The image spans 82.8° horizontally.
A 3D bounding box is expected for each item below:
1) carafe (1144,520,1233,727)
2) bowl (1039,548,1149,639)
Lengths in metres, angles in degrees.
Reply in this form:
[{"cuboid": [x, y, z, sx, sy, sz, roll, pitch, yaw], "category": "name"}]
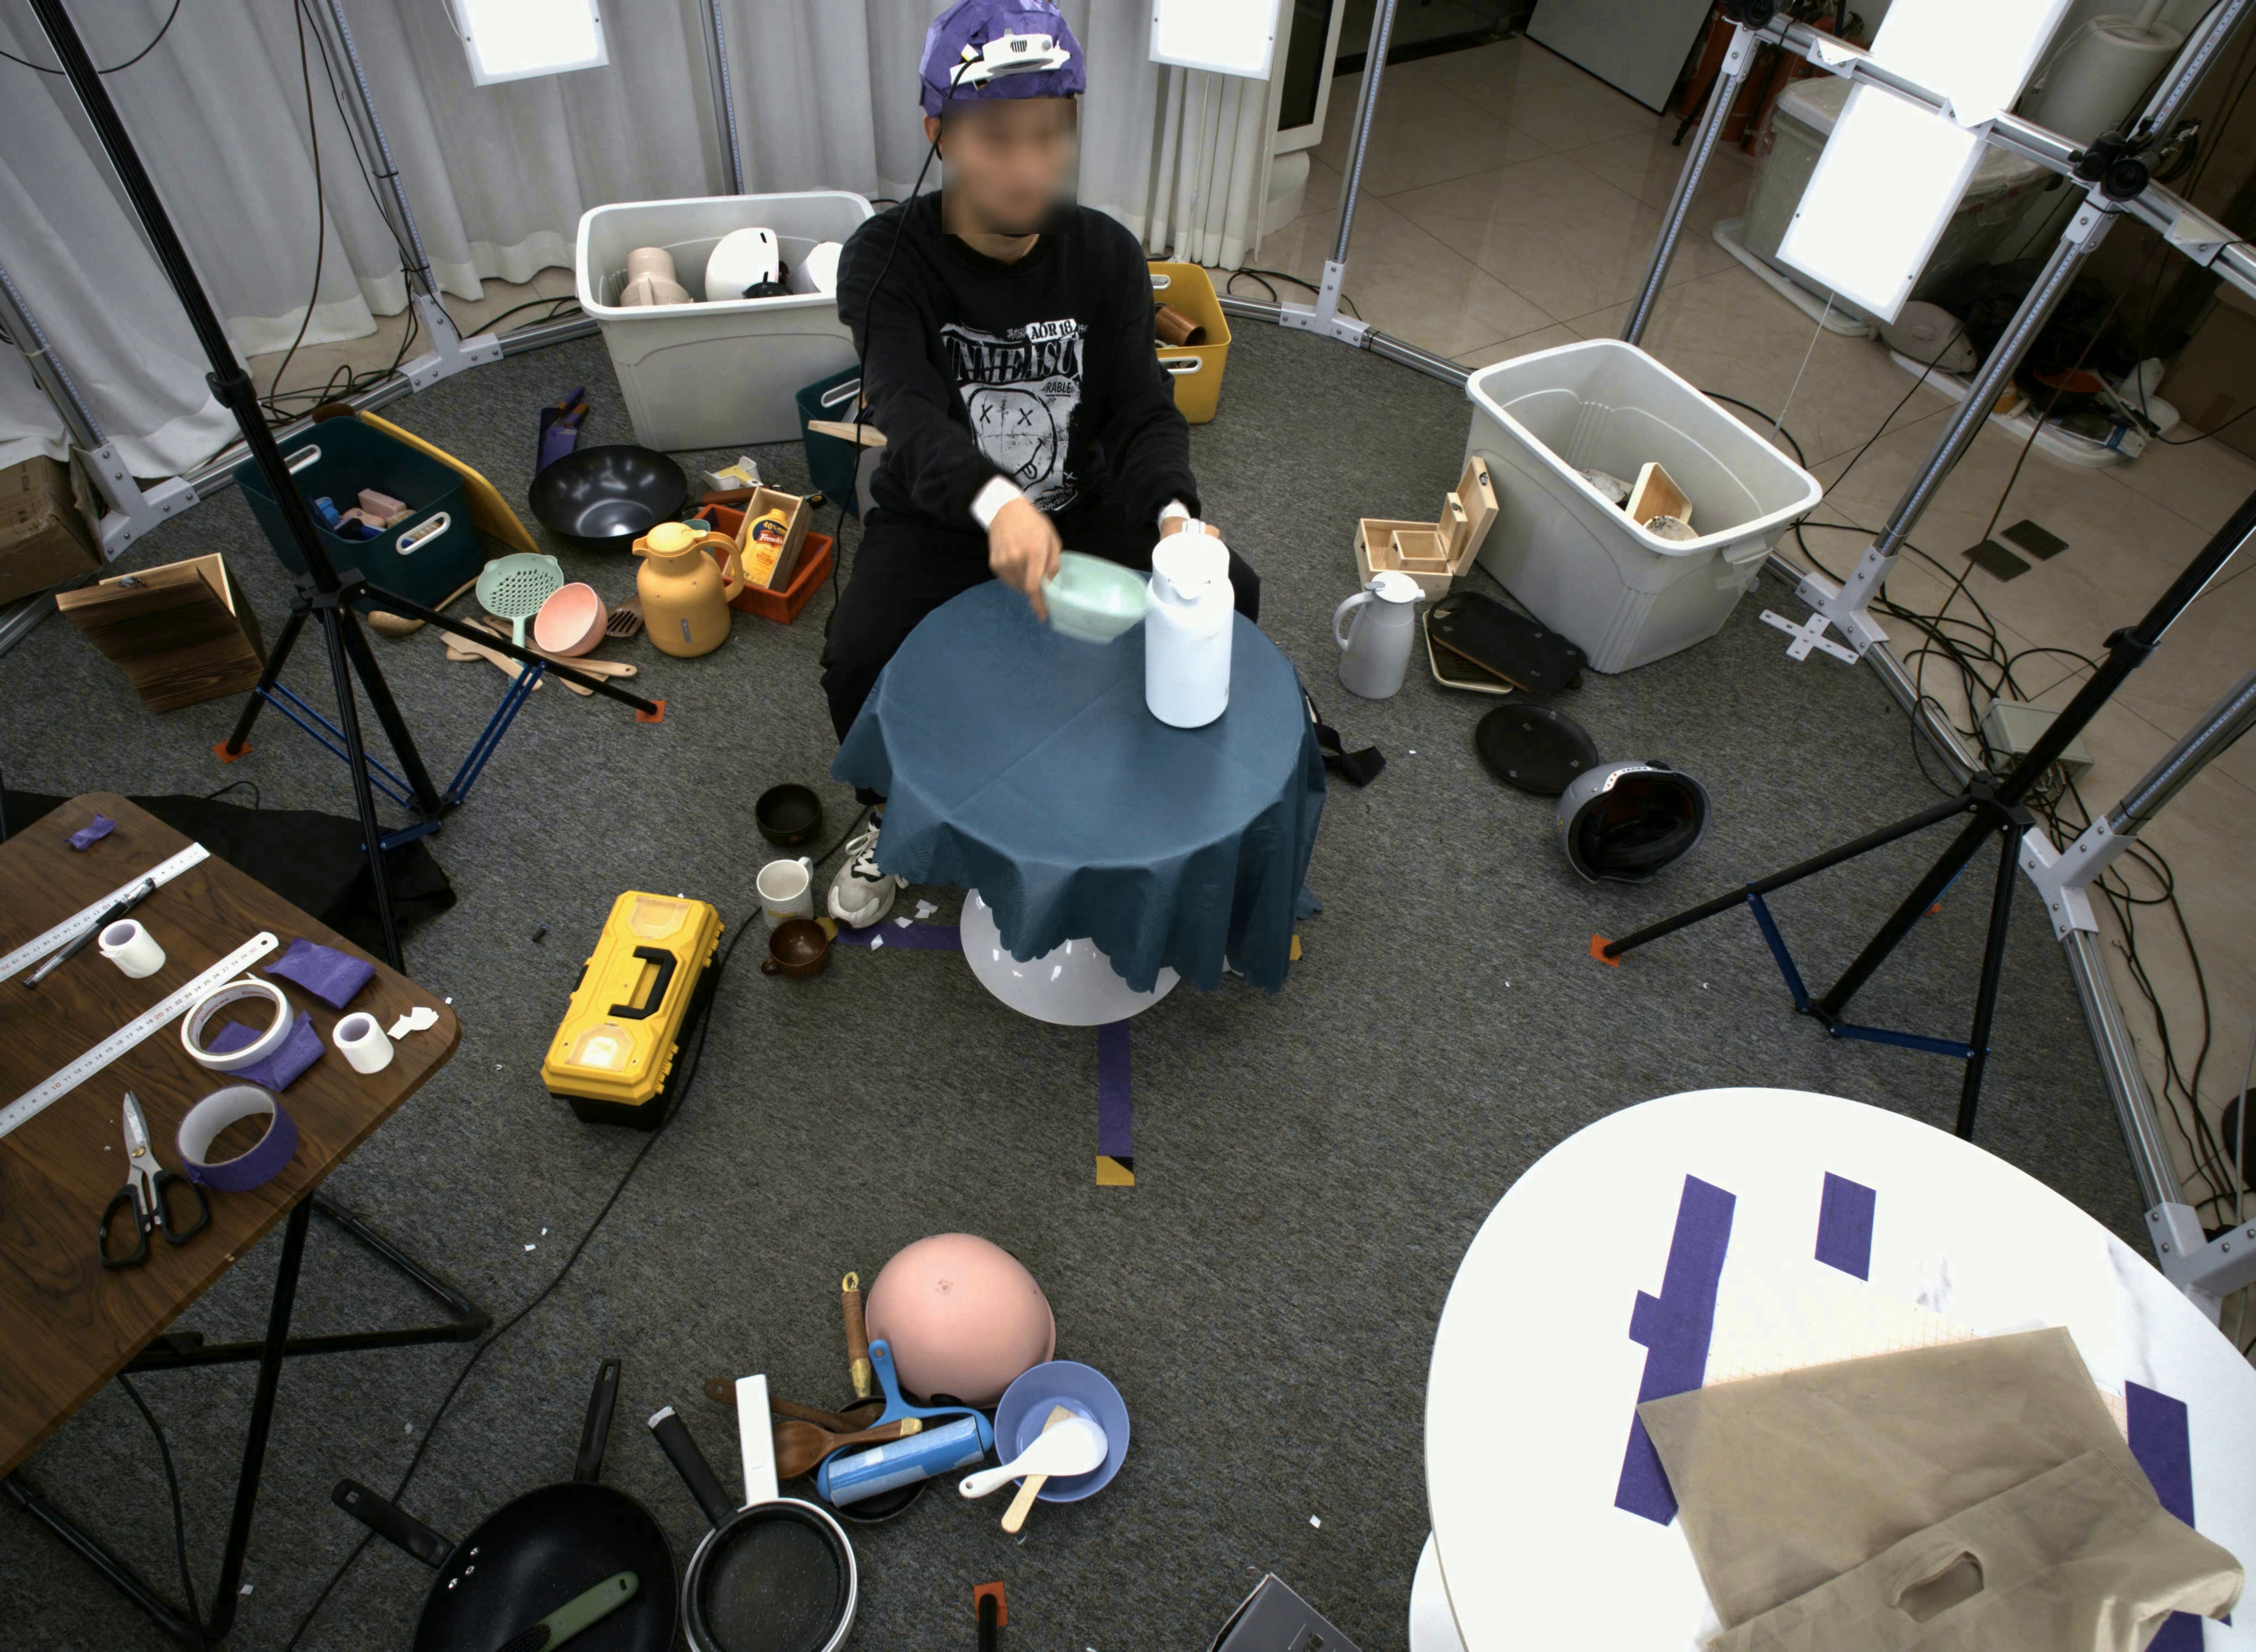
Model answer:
[{"cuboid": [0.080, -0.275, 1.736, 0.124, 0.262, 0.177, 0, 51, 5], "category": "carafe"}, {"cuboid": [-0.048, -0.278, 1.573, 0.151, 0.057, 0.155, 14, 32, -9], "category": "bowl"}]
